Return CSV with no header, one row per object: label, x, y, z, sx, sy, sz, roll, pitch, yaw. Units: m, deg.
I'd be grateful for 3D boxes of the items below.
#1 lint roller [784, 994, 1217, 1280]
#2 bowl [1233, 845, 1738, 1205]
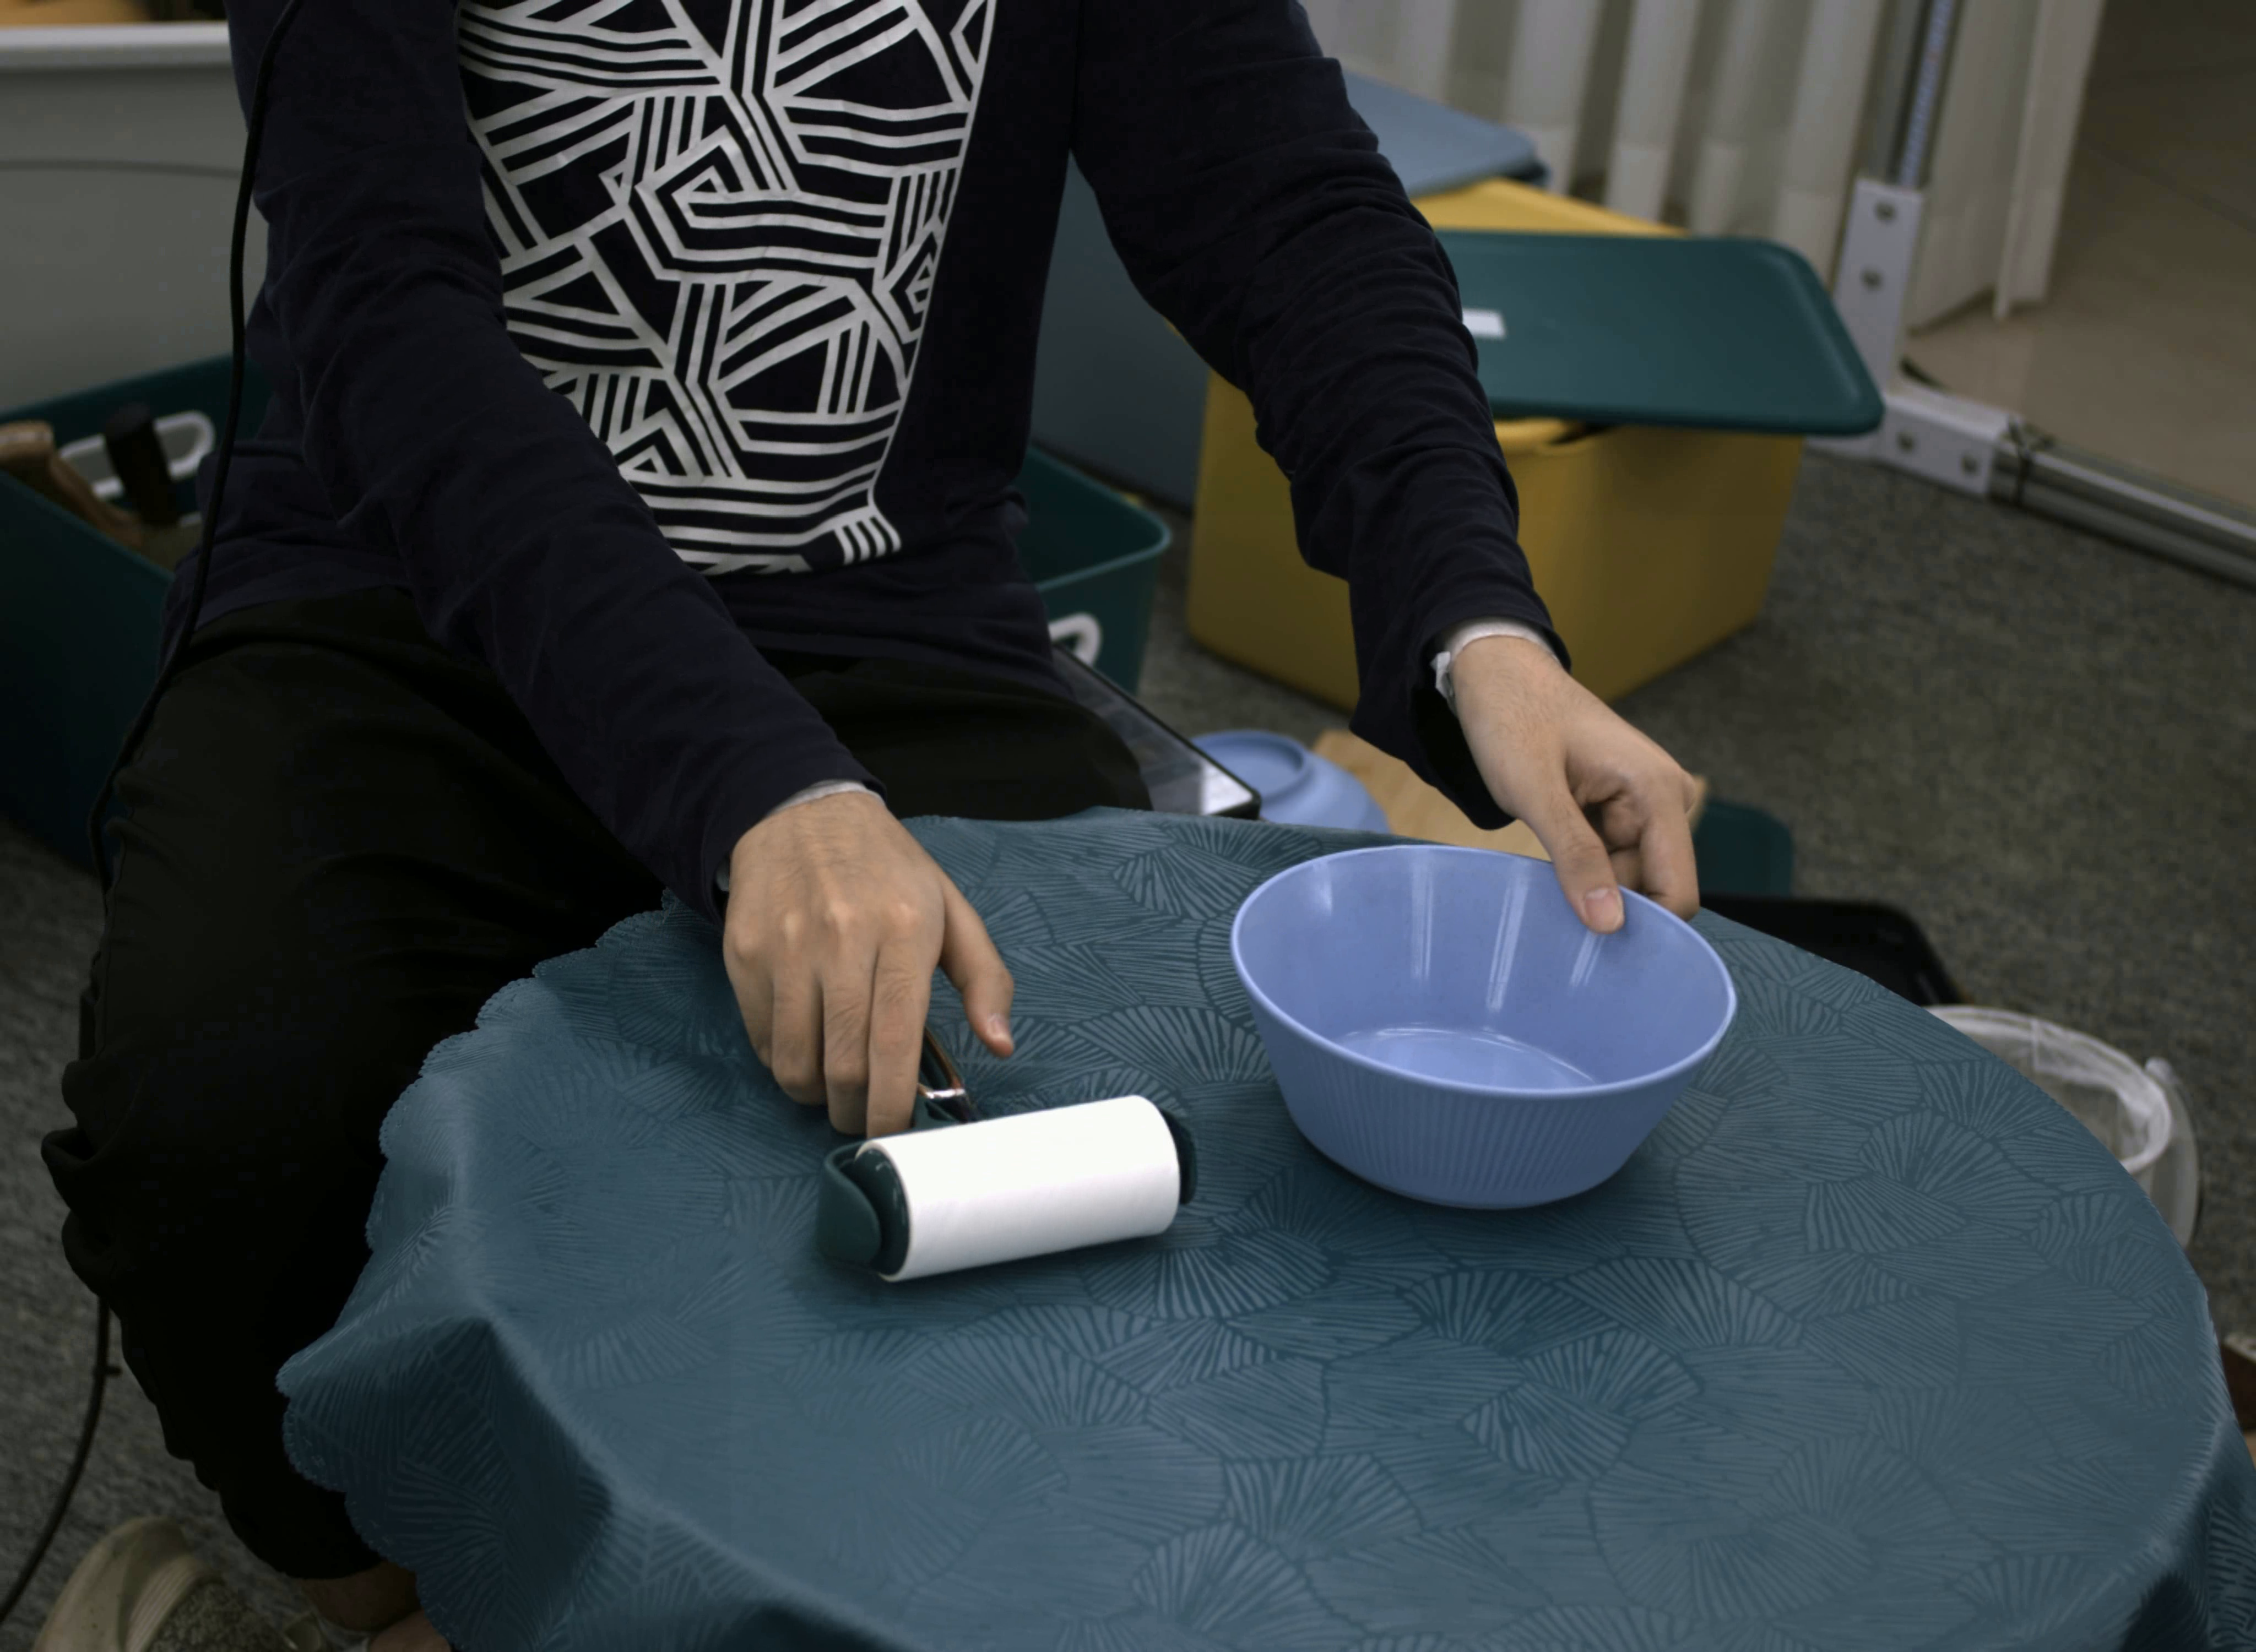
lint roller,-0.069,0.086,1.803,0.133,0.048,0.182,-9,33,-27
bowl,0.120,0.075,1.849,0.175,0.070,0.177,5,27,-3
